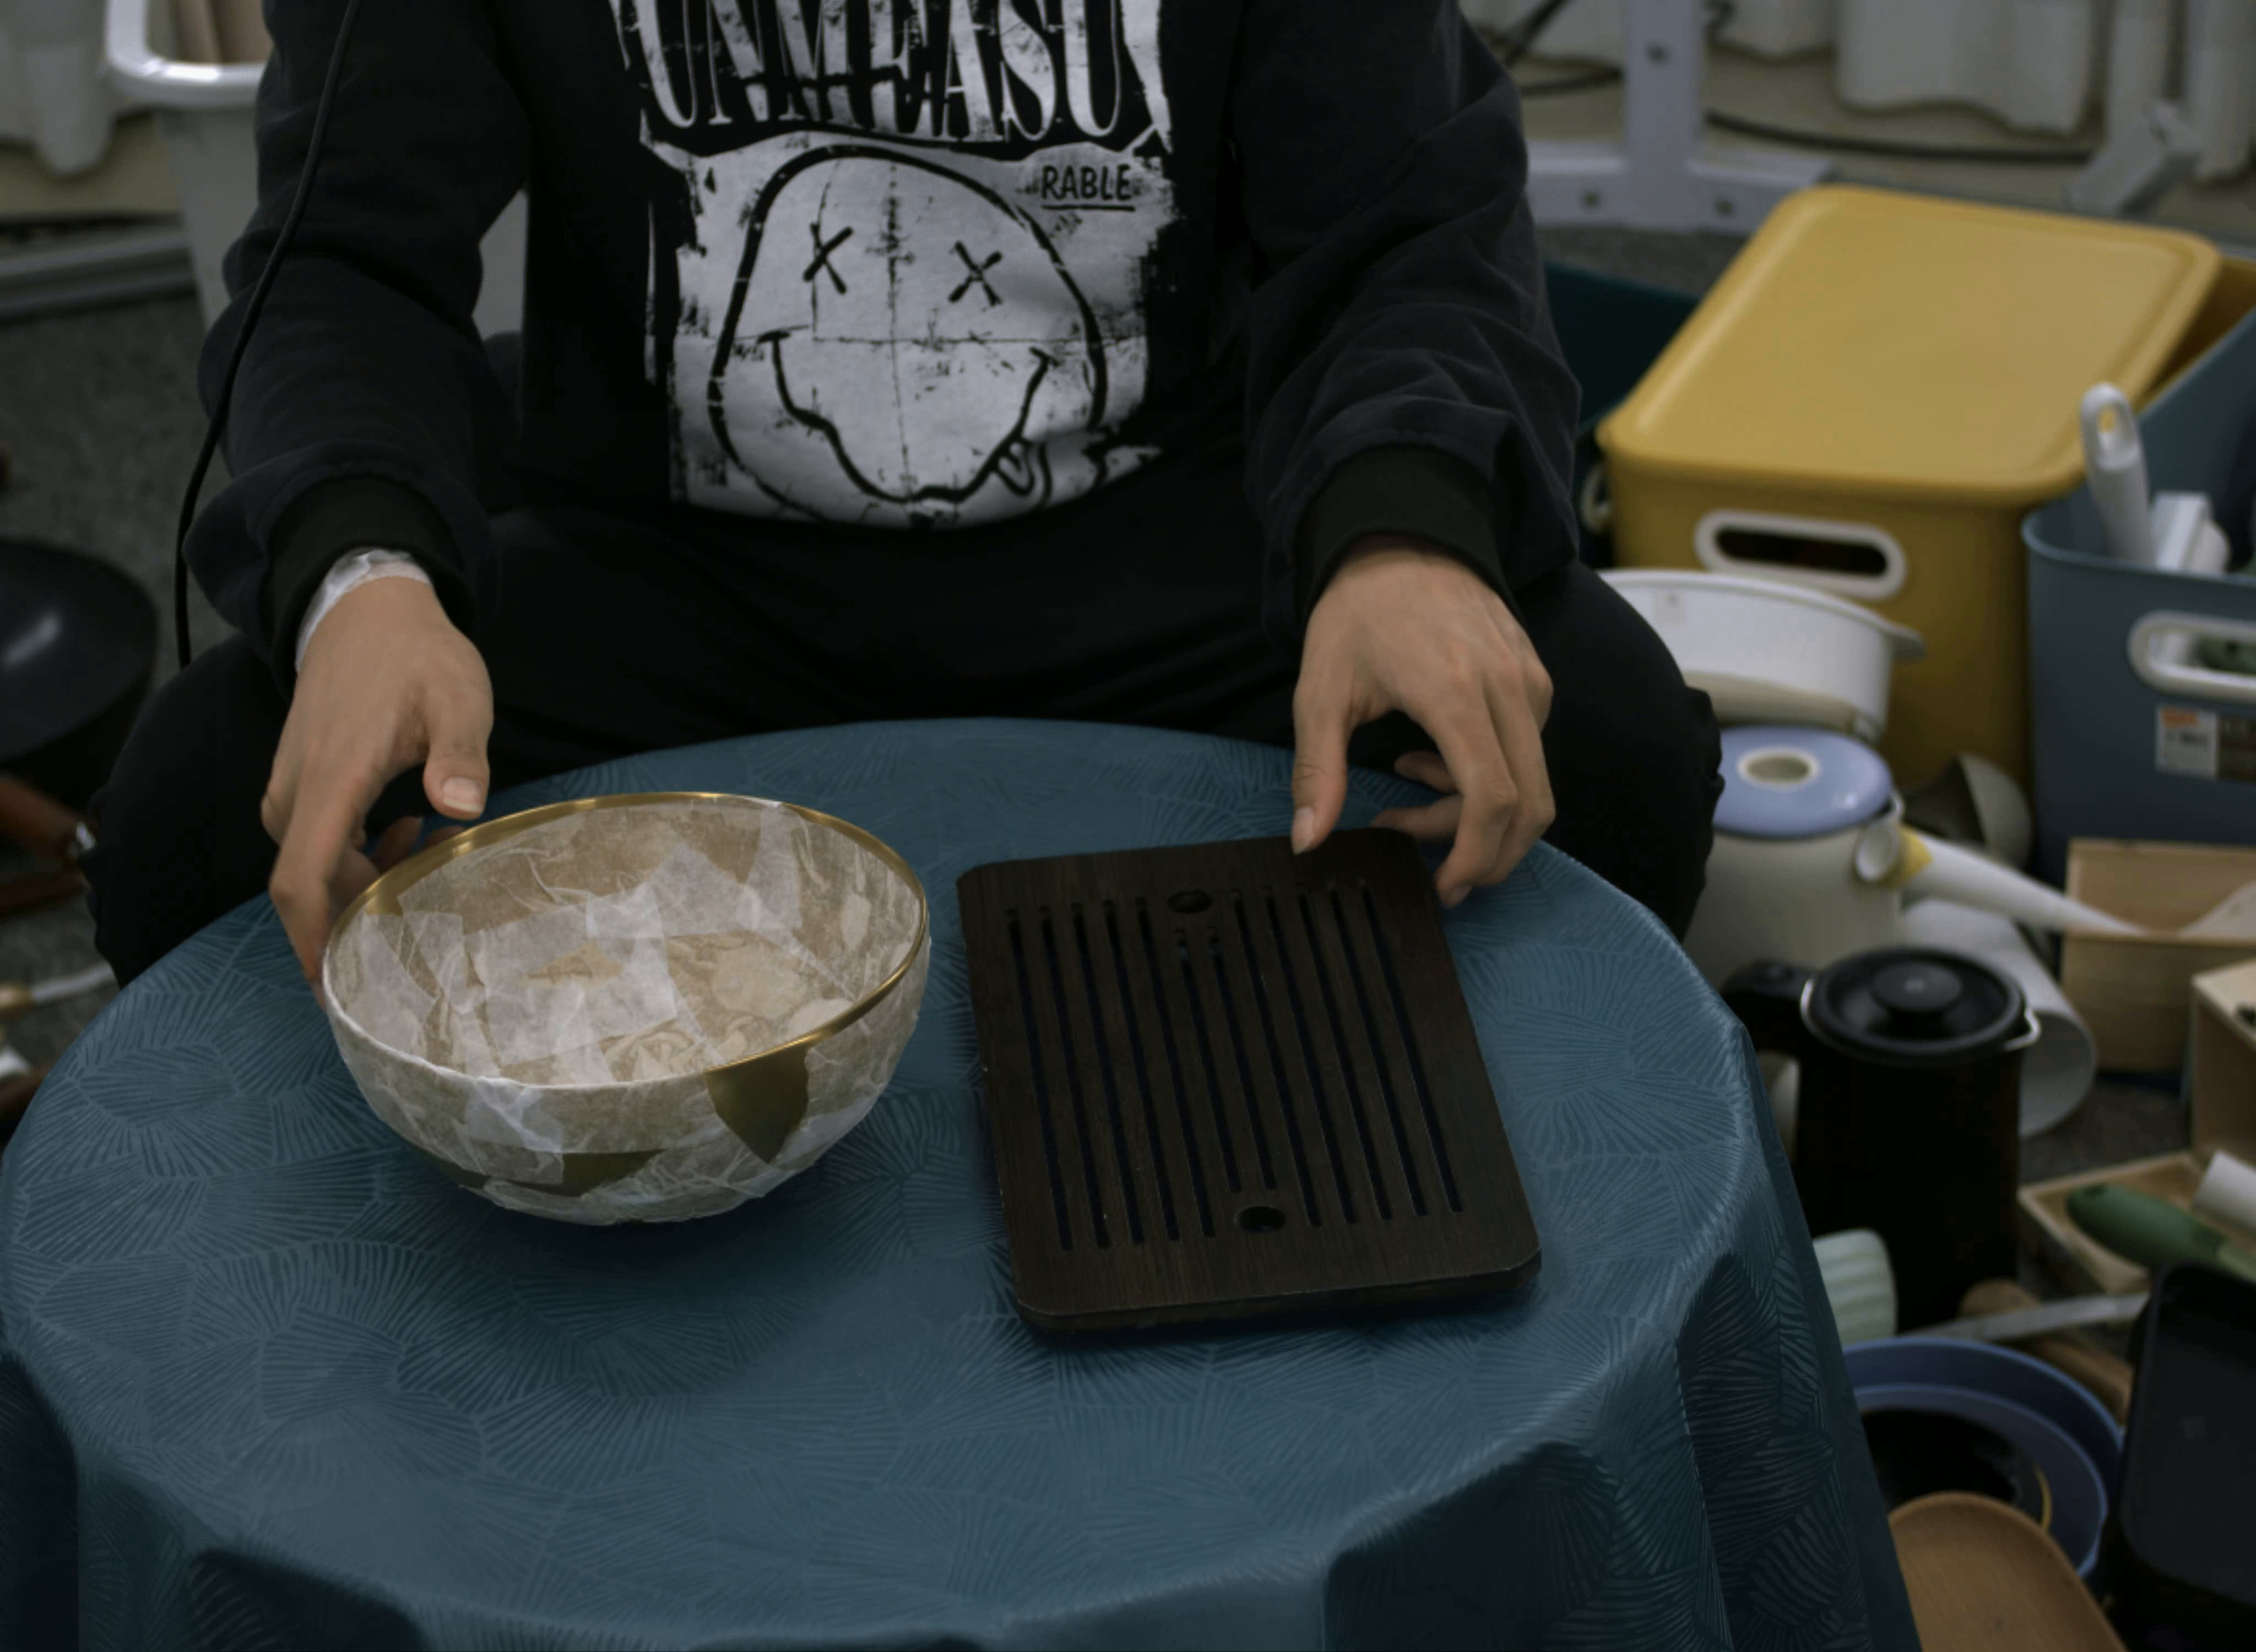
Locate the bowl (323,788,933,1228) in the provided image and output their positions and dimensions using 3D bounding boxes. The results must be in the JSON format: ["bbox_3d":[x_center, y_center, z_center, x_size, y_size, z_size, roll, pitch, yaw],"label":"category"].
[{"bbox_3d":[-0.159,0.072,1.872,0.213,0.093,0.218,-3,27,2],"label":"bowl"}]

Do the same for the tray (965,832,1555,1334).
[{"bbox_3d":[0.039,0.085,1.910,0.169,0.018,0.310,-5,27,-4],"label":"tray"}]
